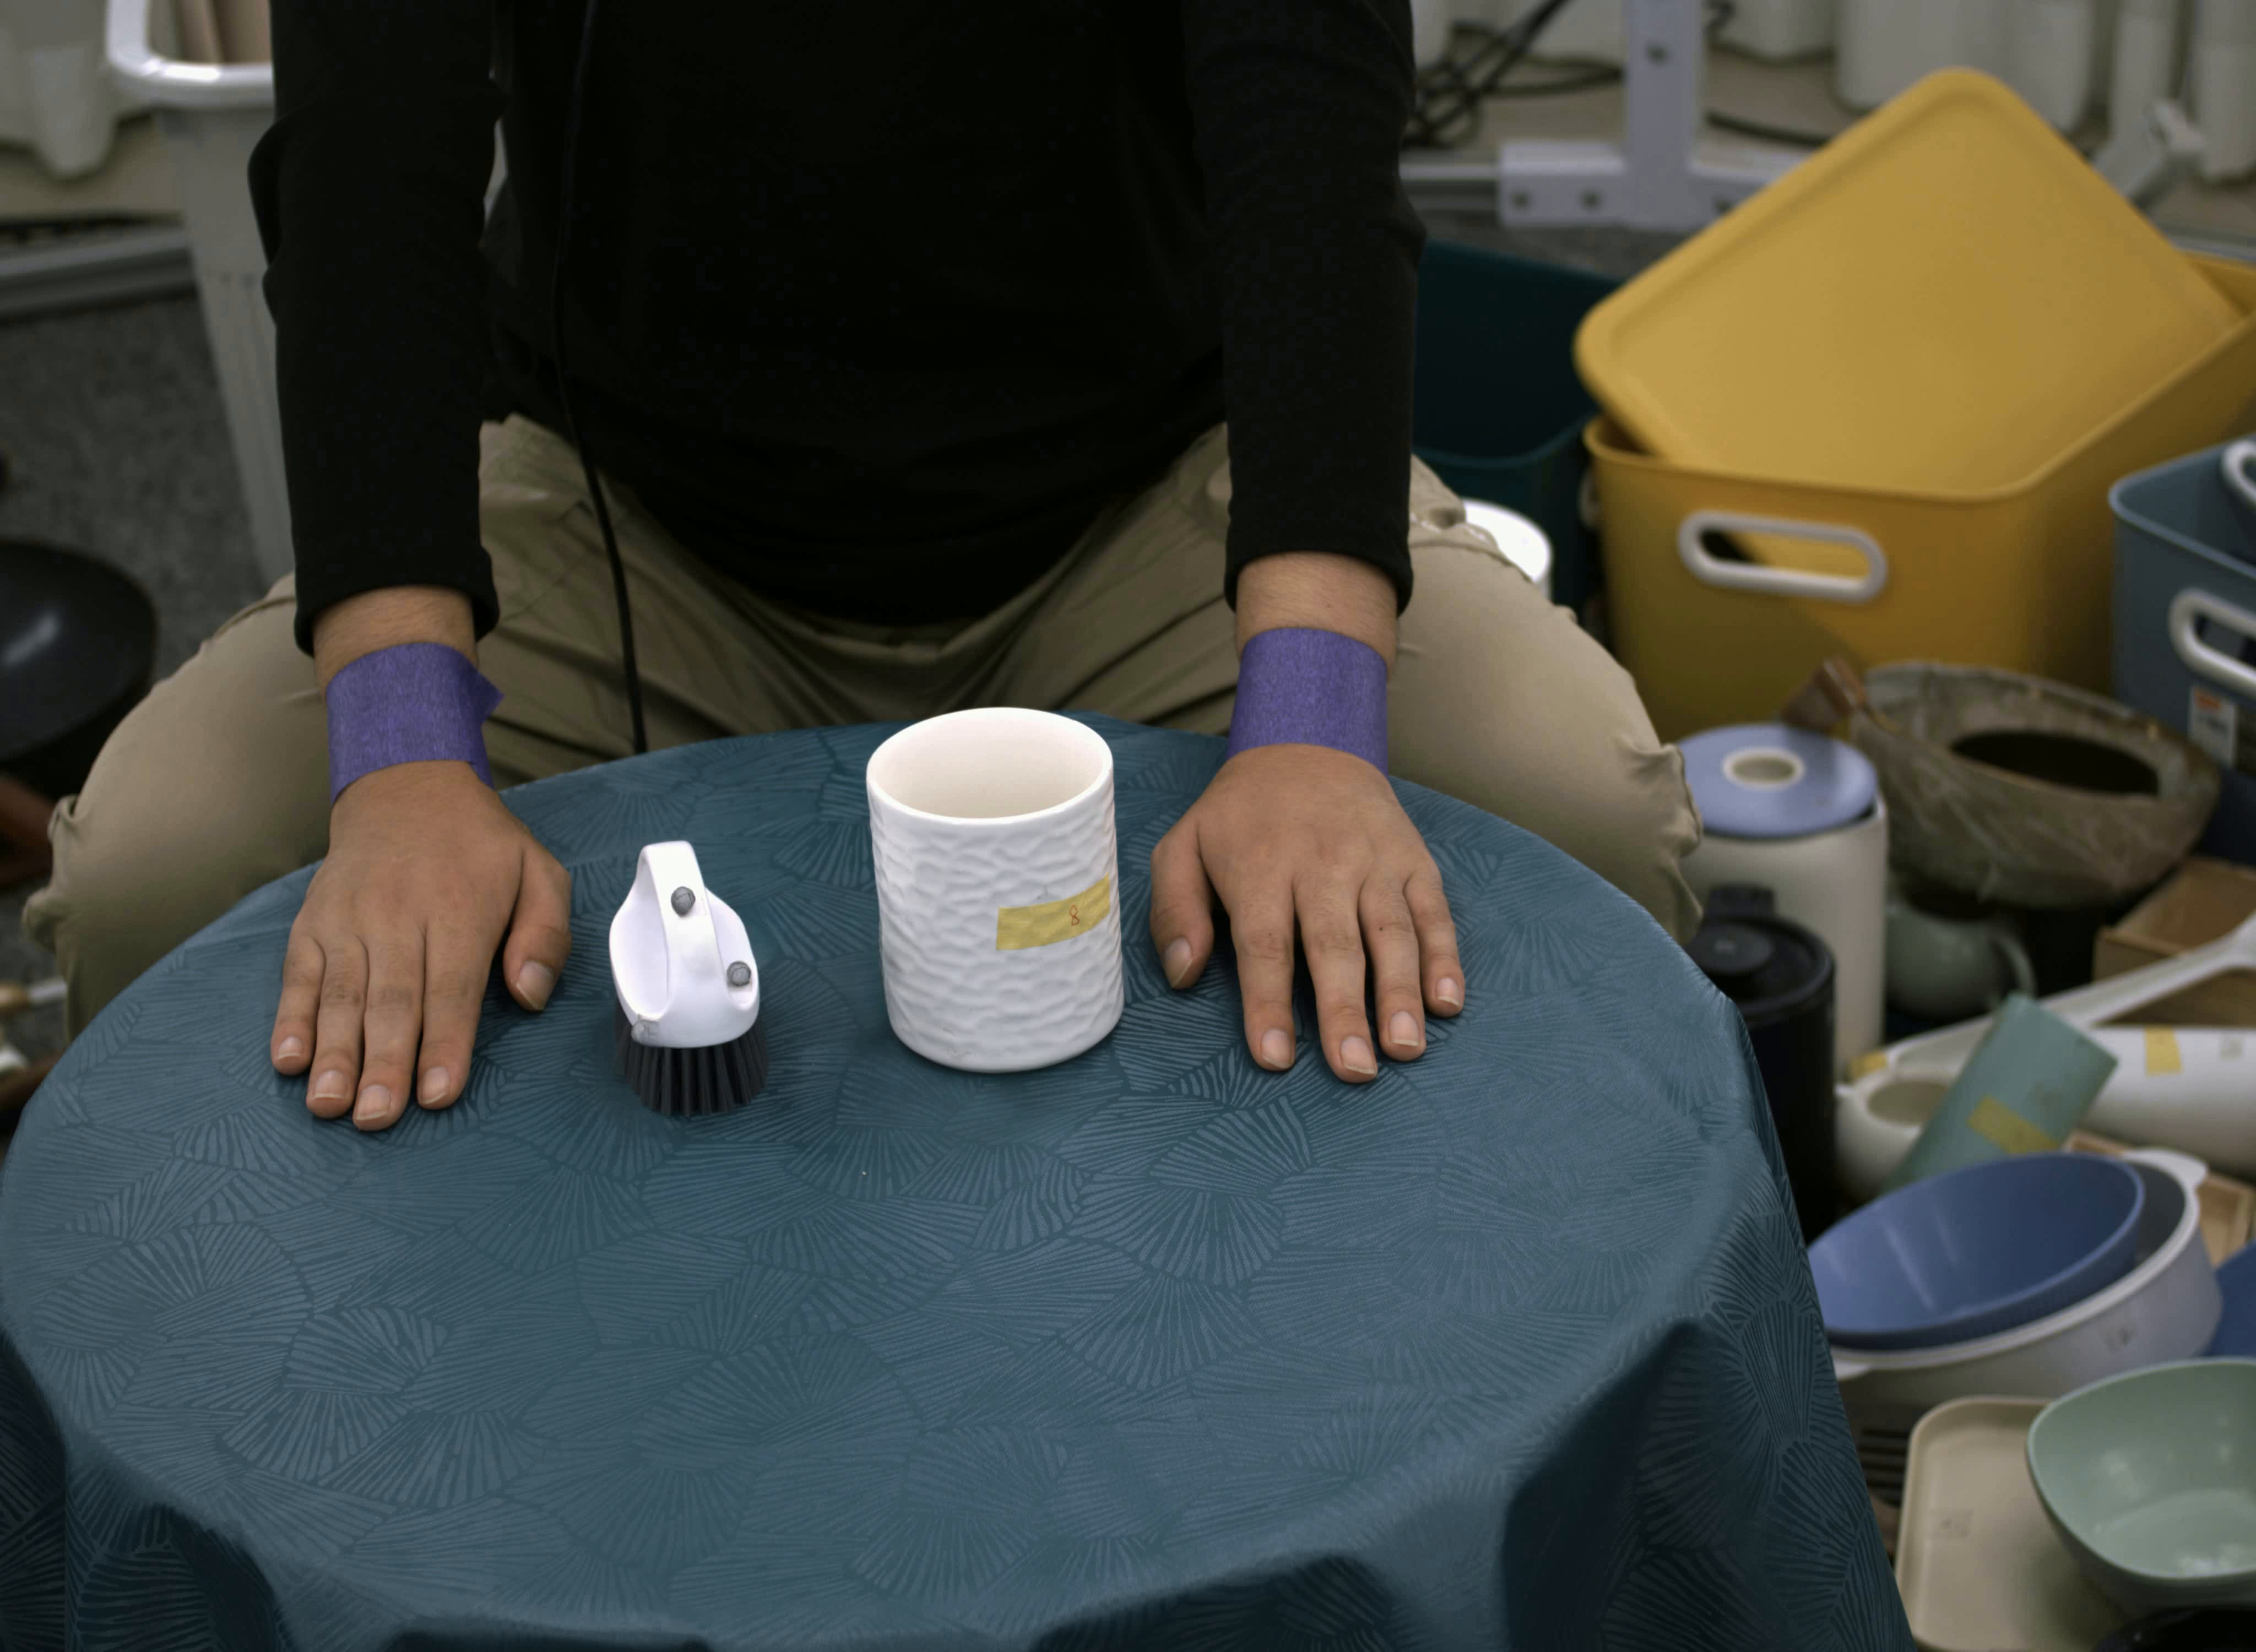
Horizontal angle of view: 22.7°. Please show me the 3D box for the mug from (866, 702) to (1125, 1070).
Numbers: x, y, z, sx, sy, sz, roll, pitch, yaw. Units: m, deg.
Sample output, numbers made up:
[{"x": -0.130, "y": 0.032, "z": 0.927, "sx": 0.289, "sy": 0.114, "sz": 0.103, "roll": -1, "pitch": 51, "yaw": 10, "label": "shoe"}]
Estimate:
[{"x": -0.048, "y": 0.015, "z": 1.960, "sx": 0.085, "sy": 0.101, "sz": 0.119, "roll": -9, "pitch": 27, "yaw": -11, "label": "mug"}]

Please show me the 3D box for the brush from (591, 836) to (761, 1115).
[{"x": -0.158, "y": 0.045, "z": 1.945, "sx": 0.050, "sy": 0.071, "sz": 0.100, "roll": -7, "pitch": 31, "yaw": -17, "label": "brush"}]
